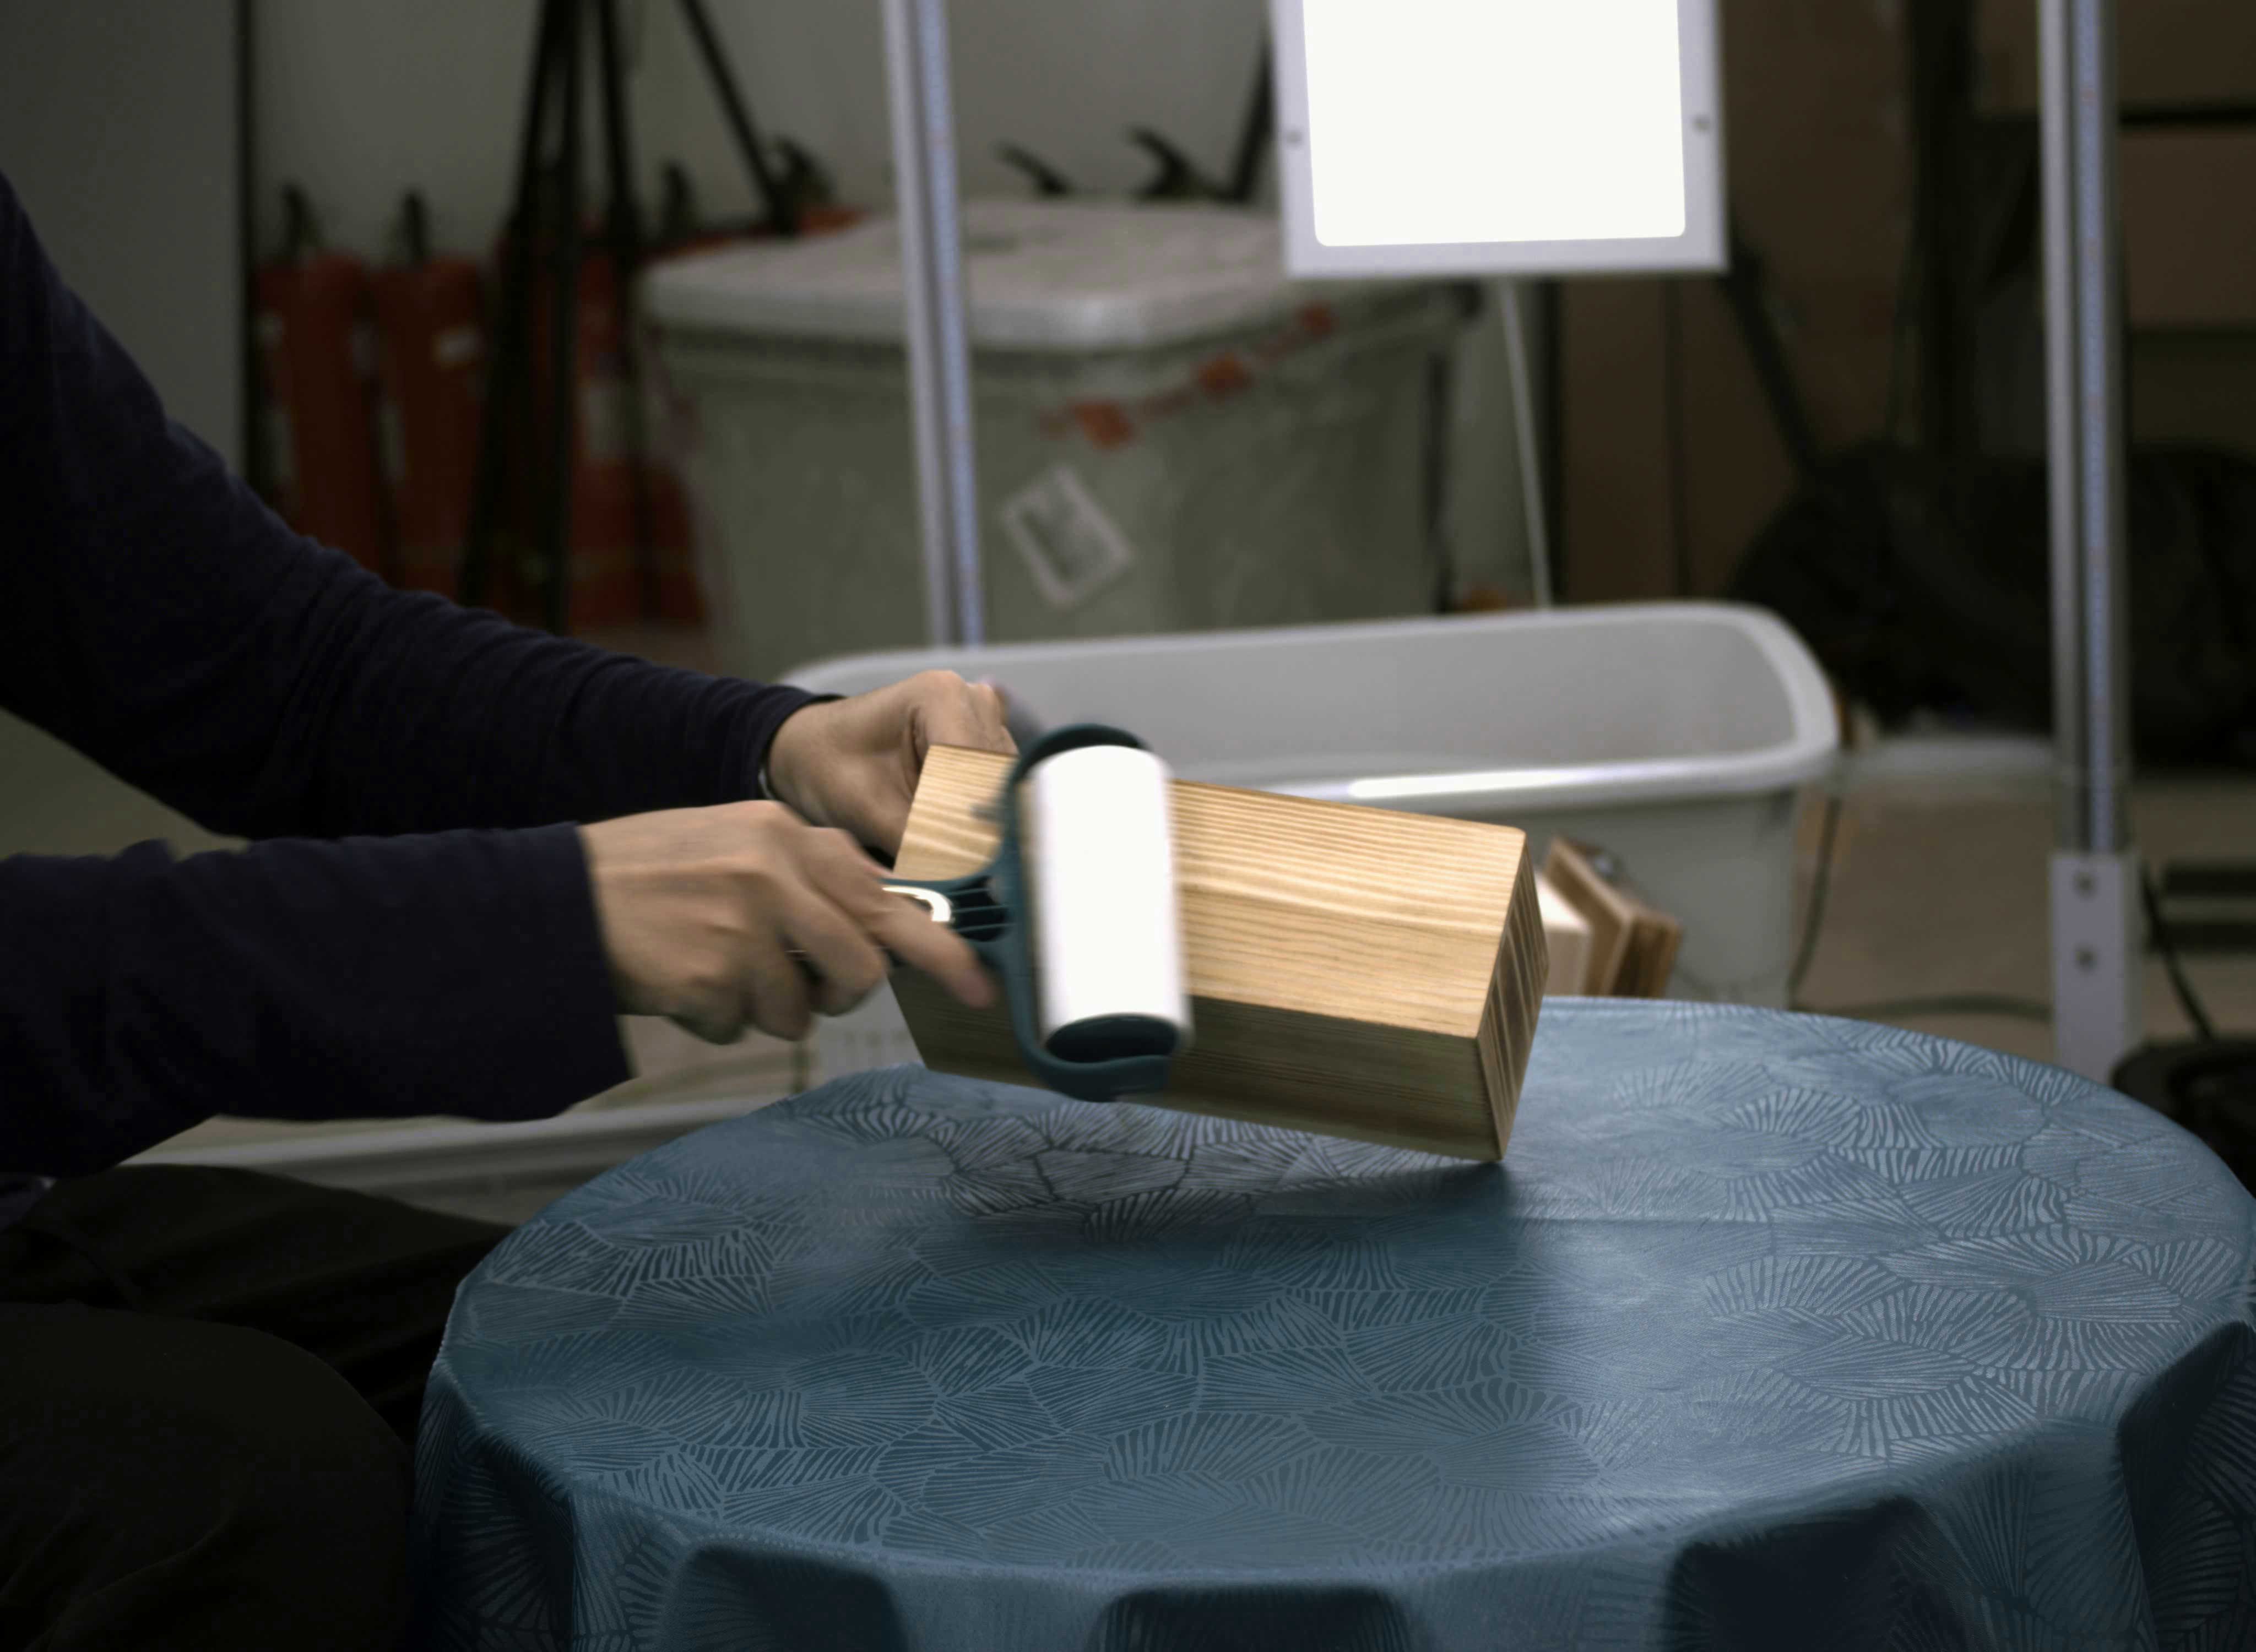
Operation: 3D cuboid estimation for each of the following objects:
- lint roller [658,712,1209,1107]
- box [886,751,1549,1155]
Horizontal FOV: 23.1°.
[{"bbox_3d":[-0.066,0.031,1.823,0.179,0.134,0.048,-3,-28,-2],"label":"lint roller"},{"bbox_3d":[0.032,0.044,1.896,0.213,0.080,0.107,8,-25,15],"label":"box"}]
